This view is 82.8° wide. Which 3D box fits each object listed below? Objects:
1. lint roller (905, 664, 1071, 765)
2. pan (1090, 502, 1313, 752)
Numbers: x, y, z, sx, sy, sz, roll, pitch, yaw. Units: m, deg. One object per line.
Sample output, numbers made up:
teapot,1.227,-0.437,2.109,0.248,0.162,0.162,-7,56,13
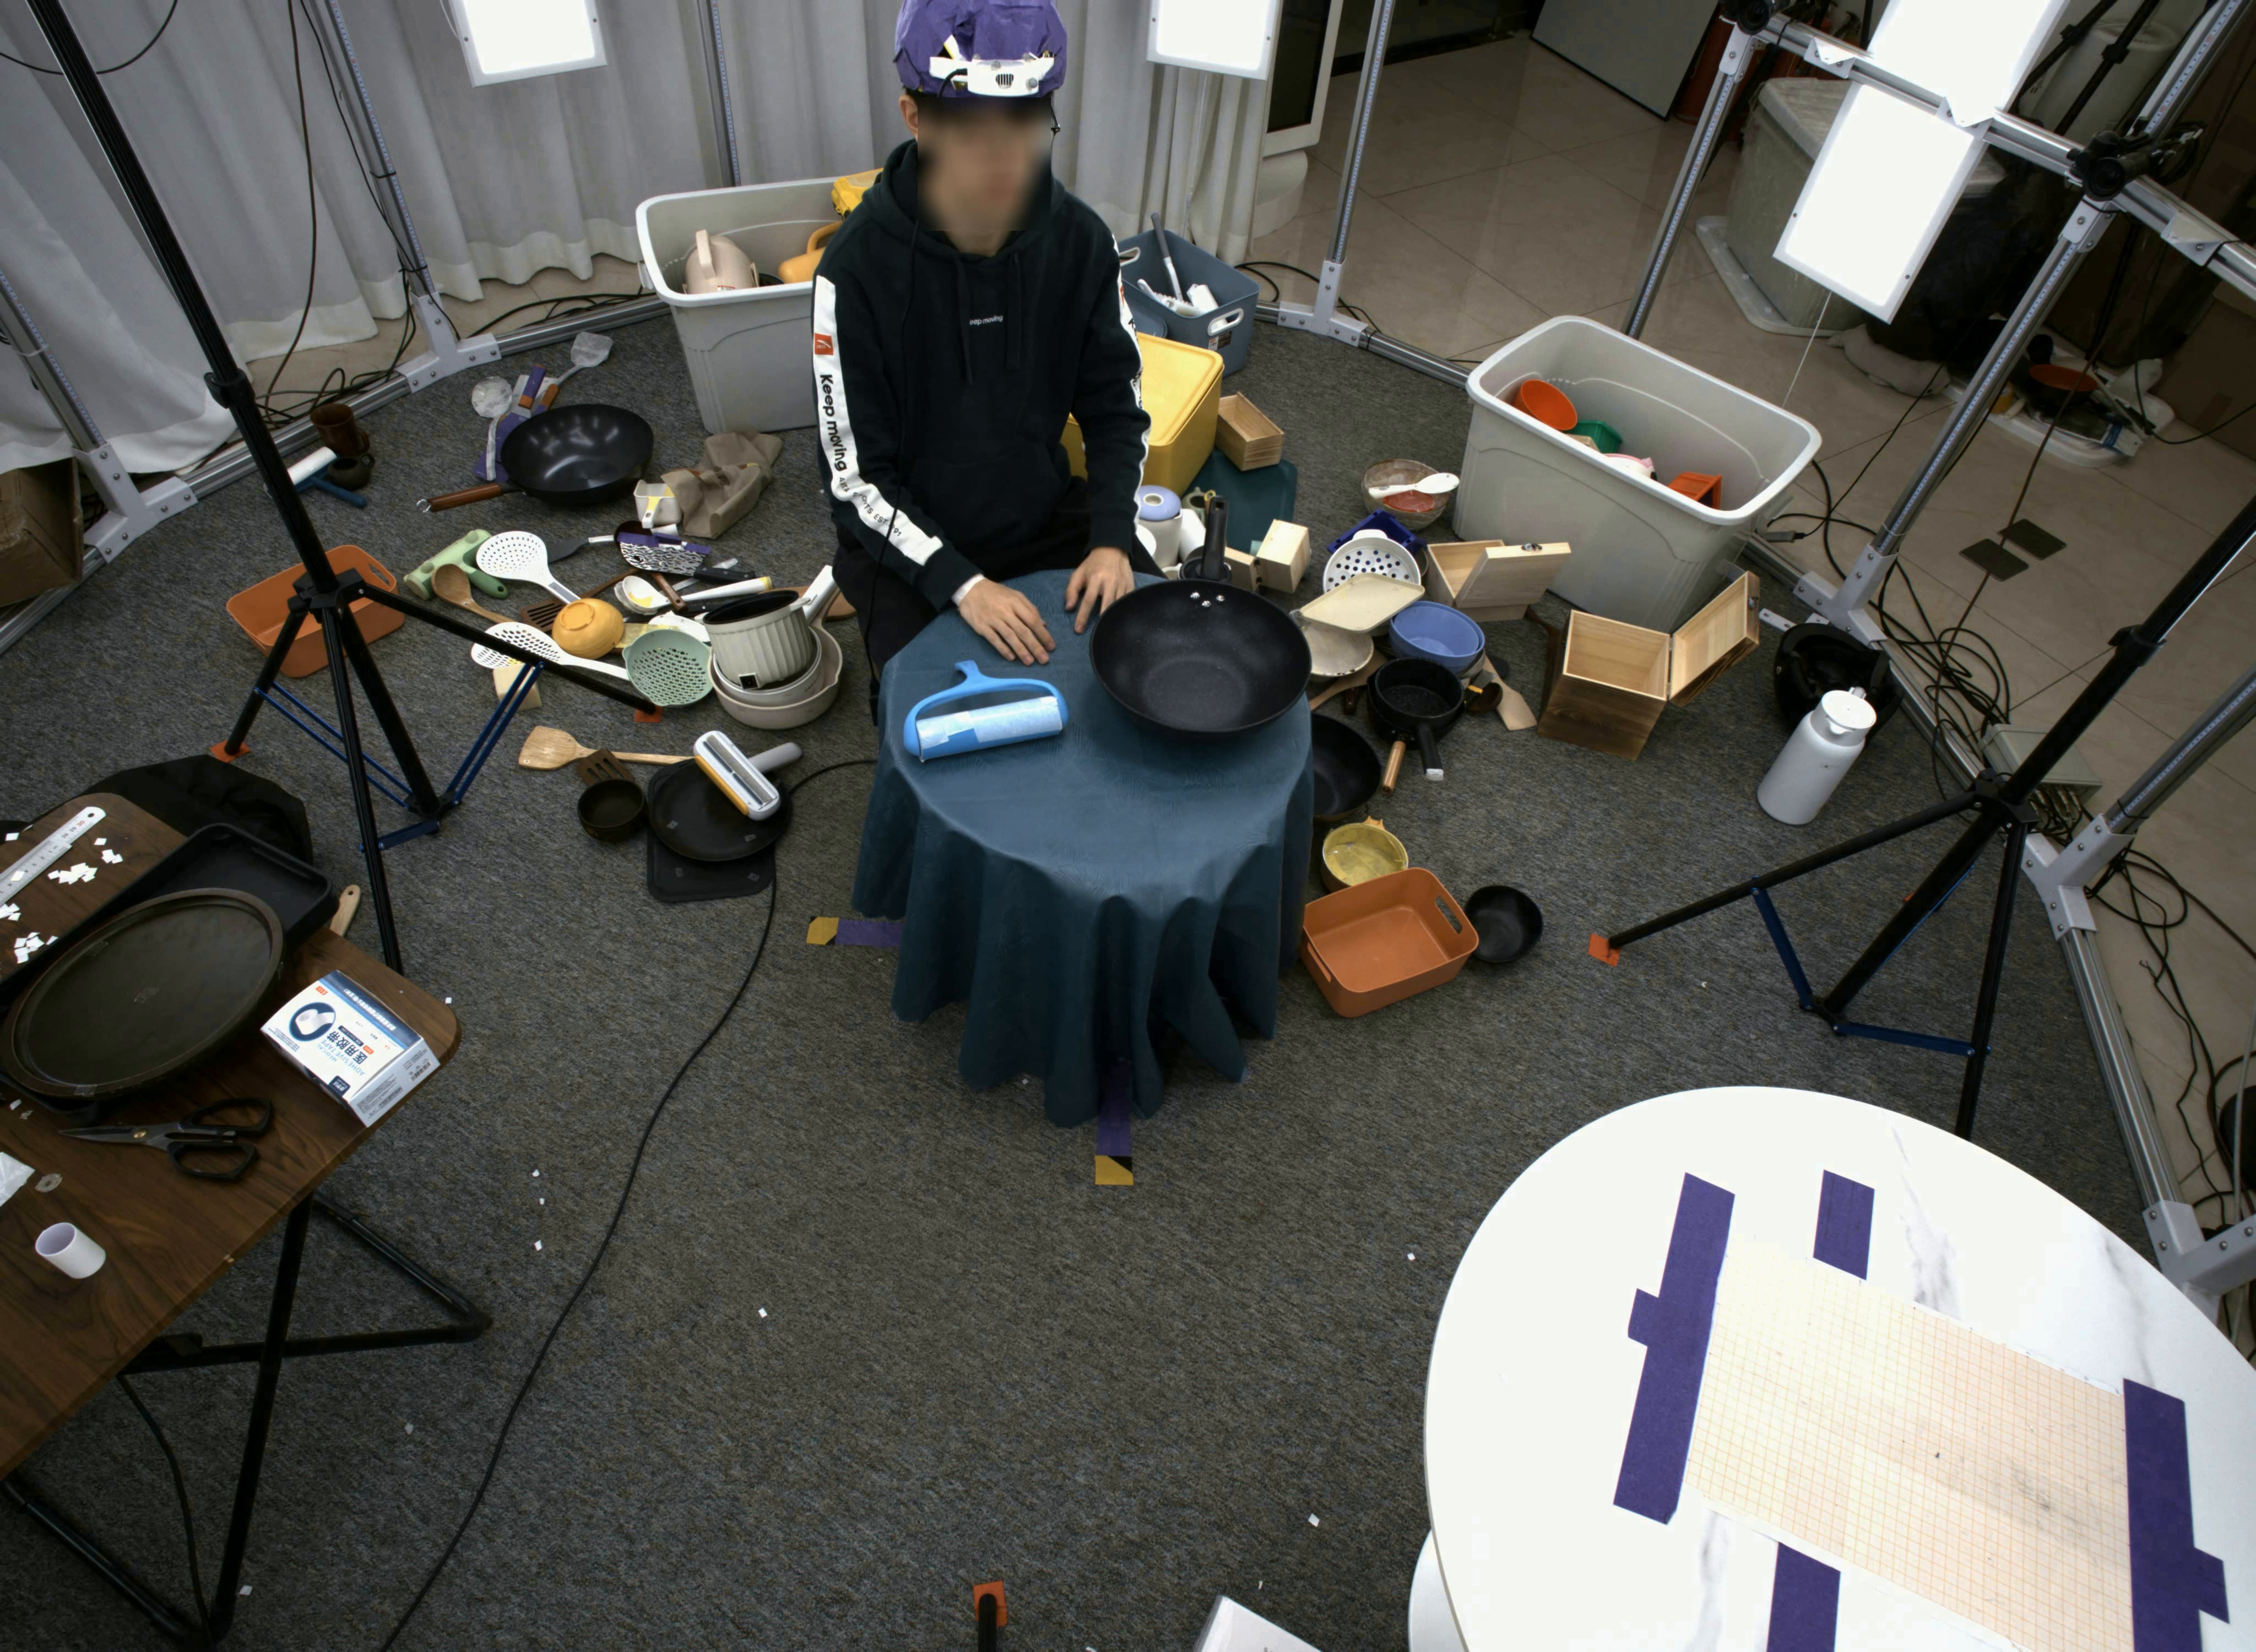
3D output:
lint roller,-0.209,-0.176,1.771,0.229,0.066,0.184,-16,54,-14
pan,0.109,-0.280,1.849,0.310,0.109,0.488,8,49,1
